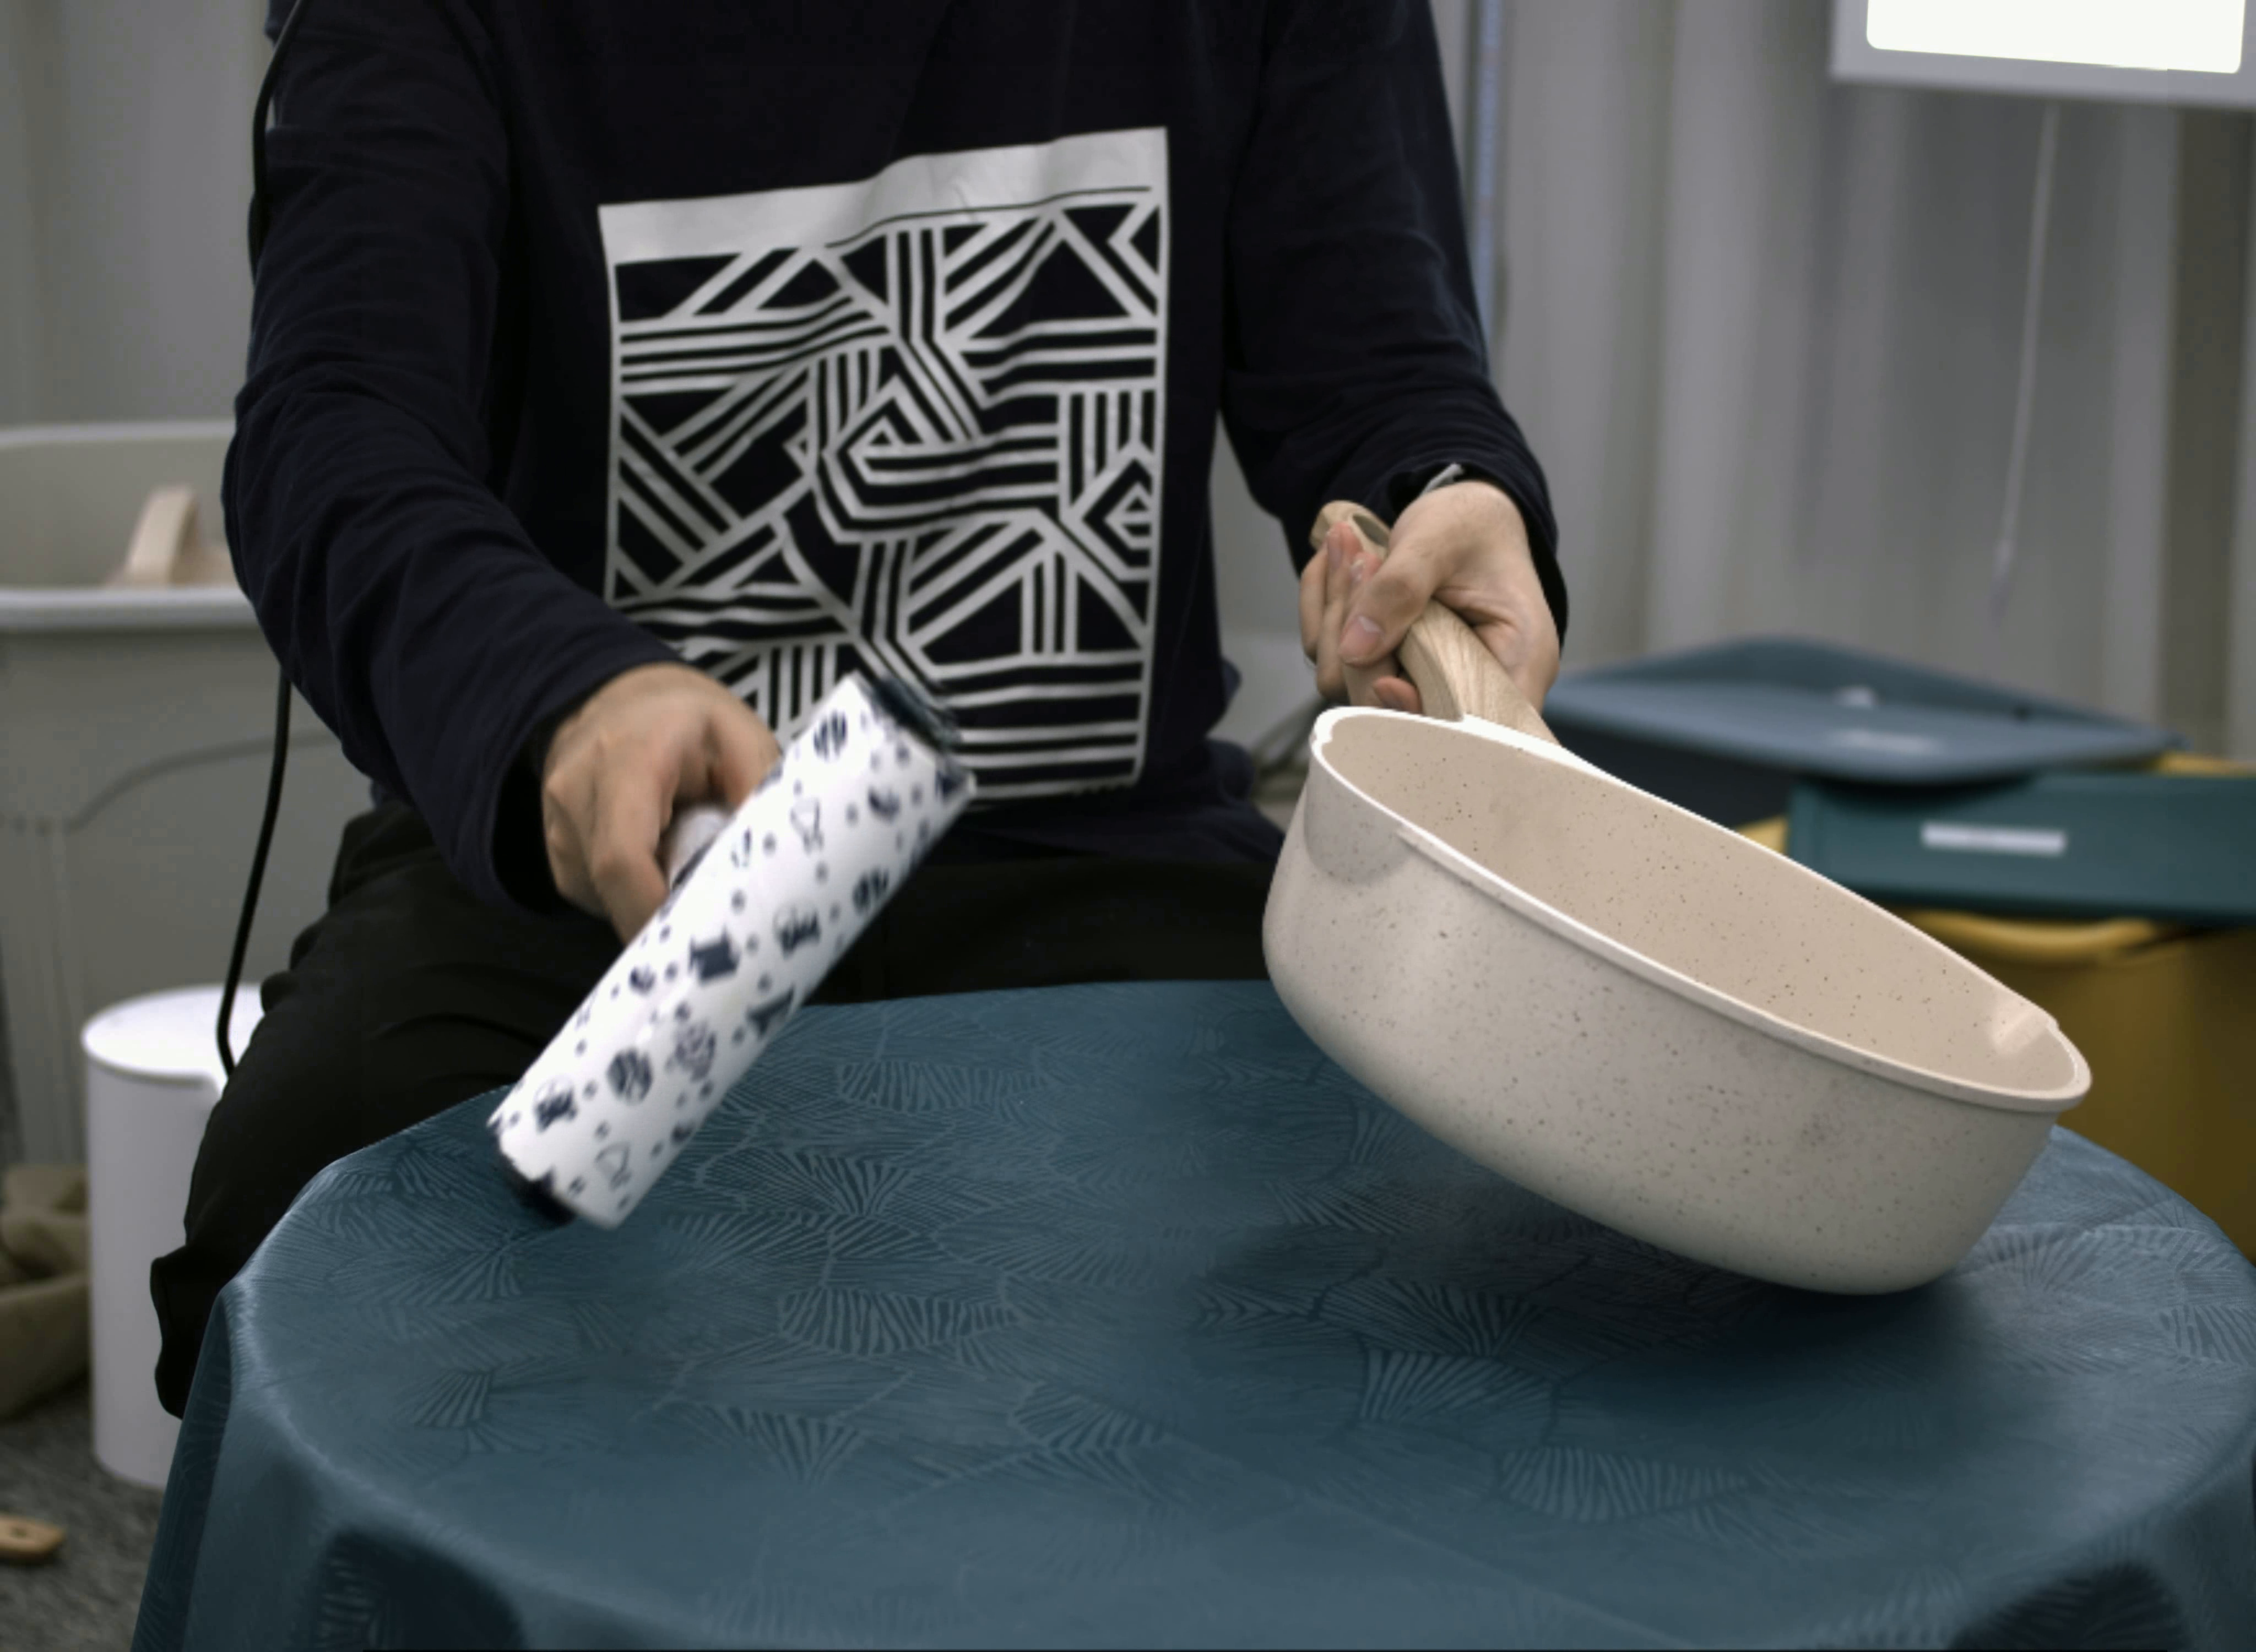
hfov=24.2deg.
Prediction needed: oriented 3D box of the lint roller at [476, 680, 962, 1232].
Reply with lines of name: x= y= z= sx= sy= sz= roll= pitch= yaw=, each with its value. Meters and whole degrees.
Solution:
lint roller: x=-0.125 y=0.021 z=1.545 sx=0.050 sy=0.176 sz=0.245 roll=39 pitch=3 yaw=-12

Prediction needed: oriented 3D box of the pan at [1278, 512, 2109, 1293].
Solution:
pan: x=0.129 y=0.017 z=1.634 sx=0.265 sy=0.102 sz=0.429 roll=17 pitch=14 yaw=-27
